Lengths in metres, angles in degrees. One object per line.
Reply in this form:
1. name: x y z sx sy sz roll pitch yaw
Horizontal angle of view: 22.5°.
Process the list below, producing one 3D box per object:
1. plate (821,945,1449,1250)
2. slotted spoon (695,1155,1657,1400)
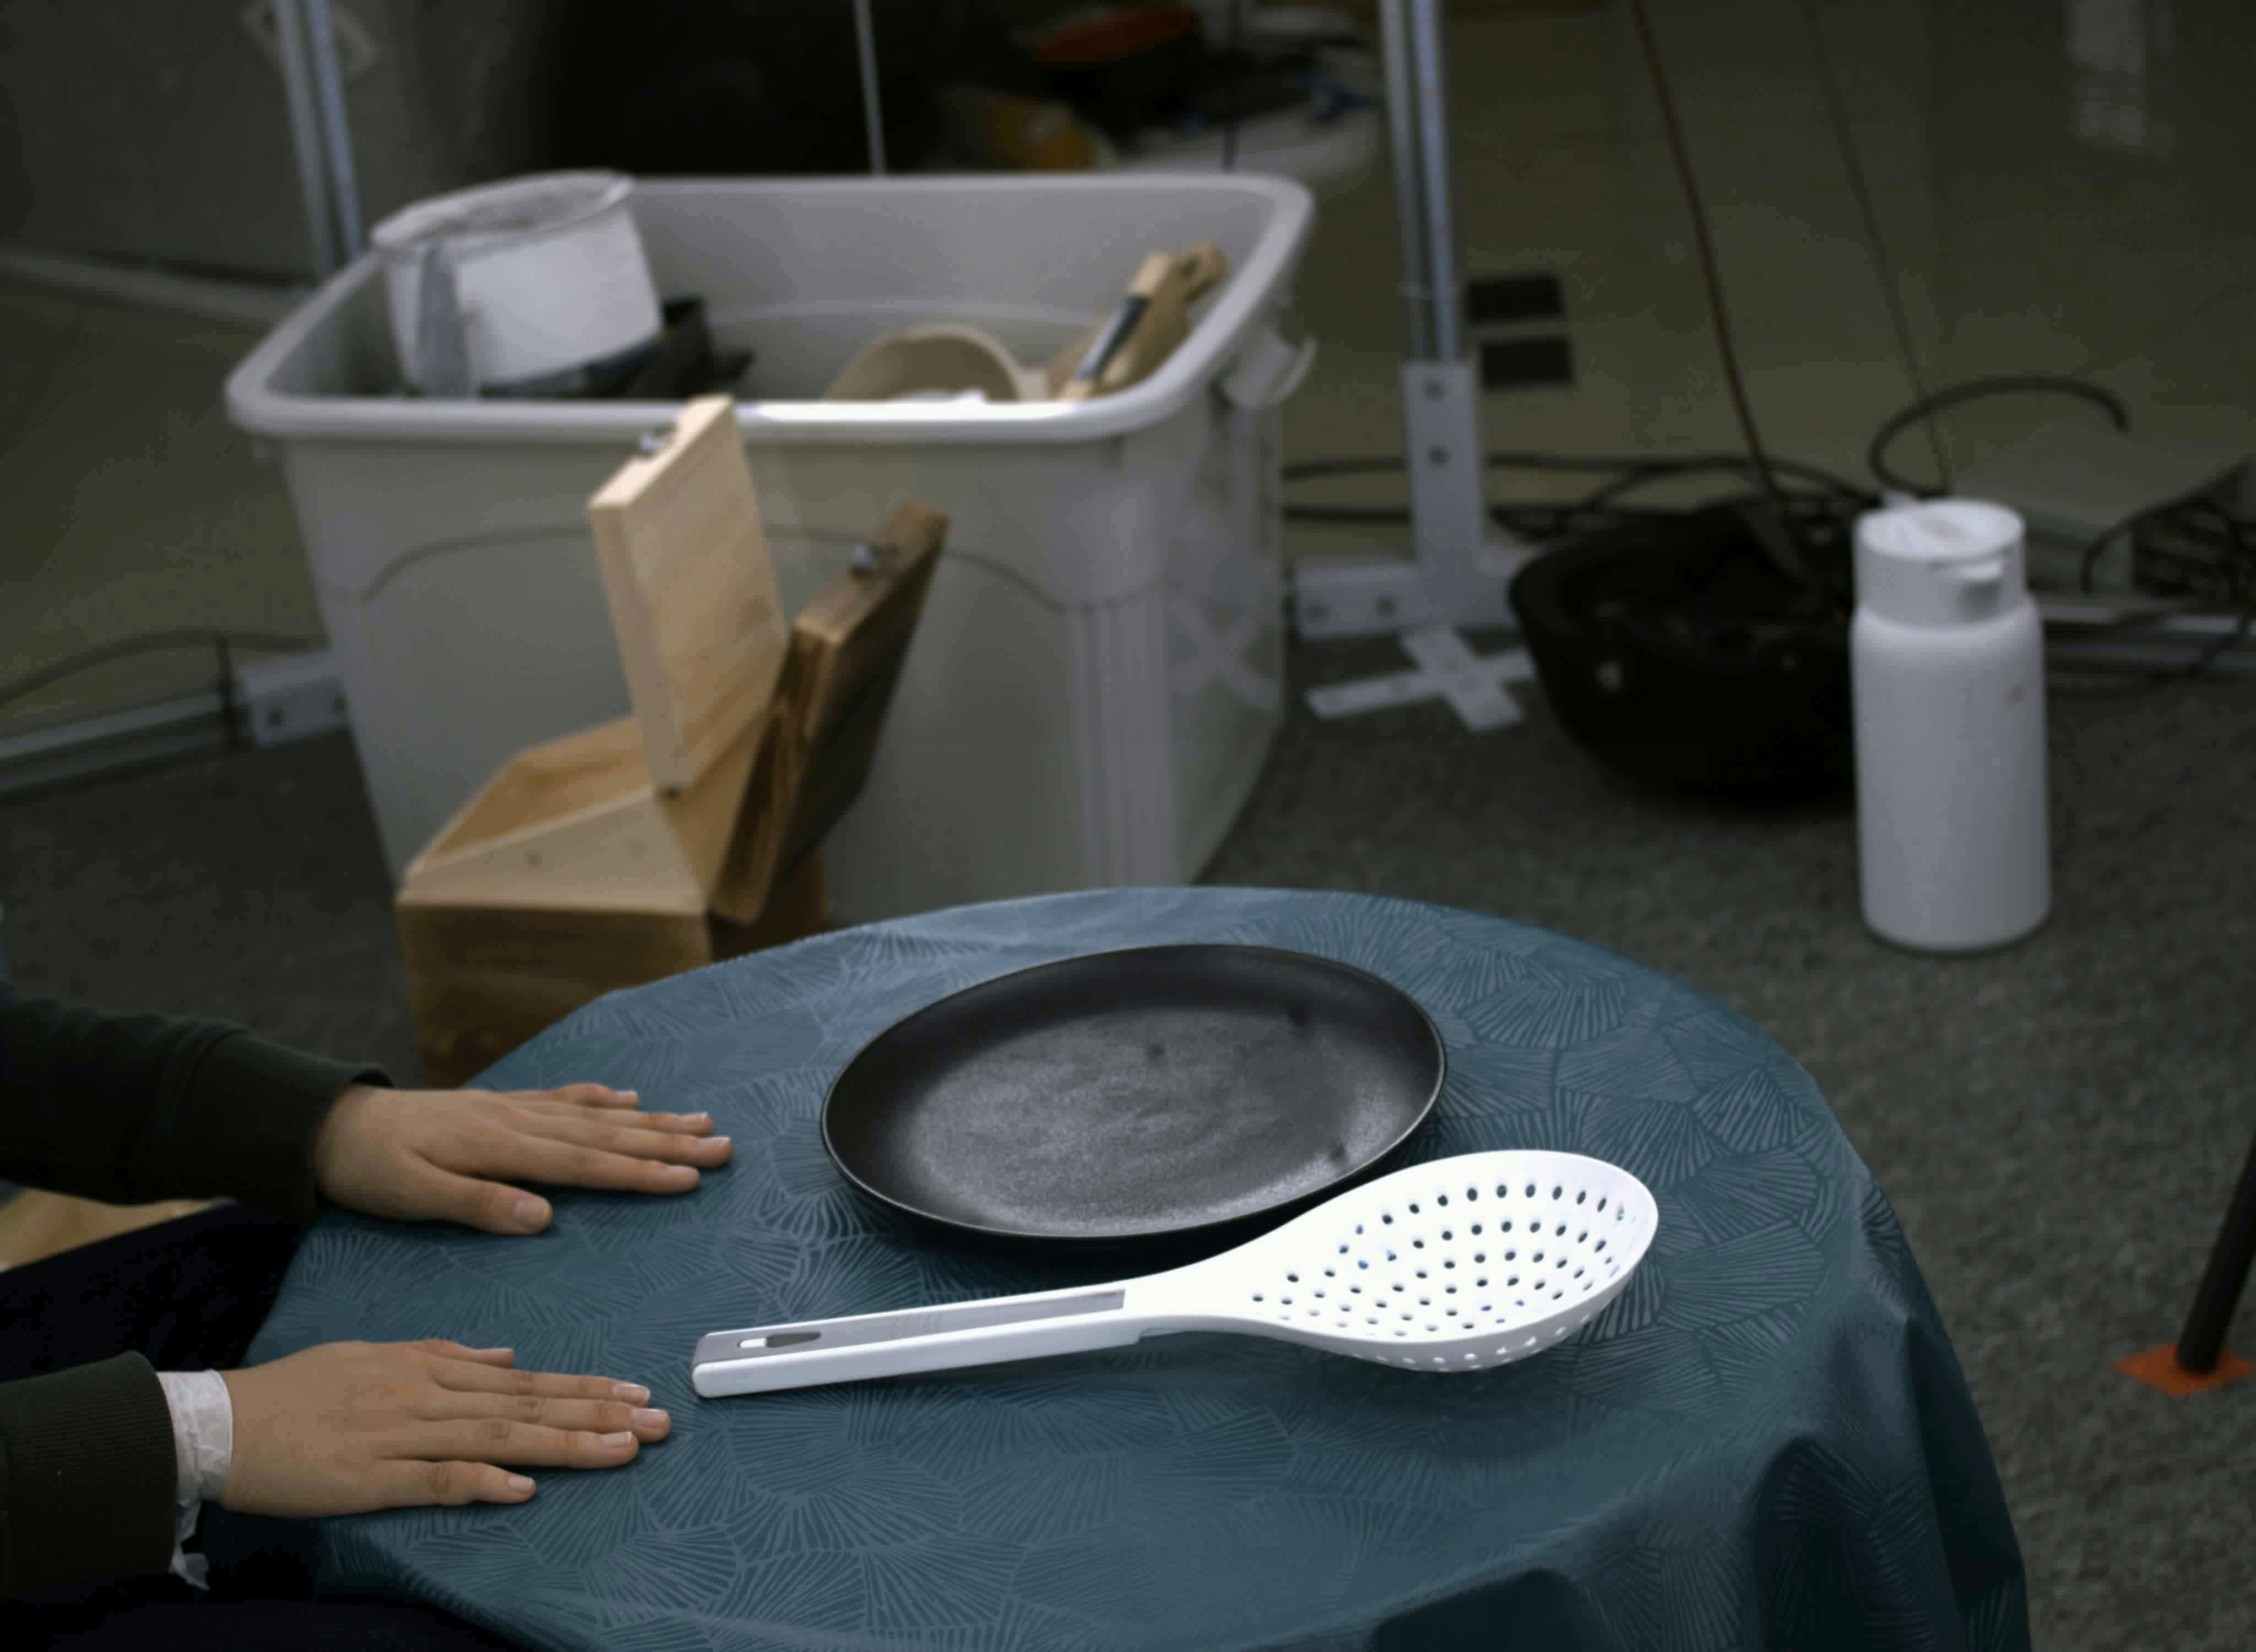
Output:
1. plate: 0.004 0.109 2.188 0.244 0.024 0.241 -6 25 3
2. slotted spoon: 0.016 0.171 2.026 0.349 0.046 0.134 -4 23 7
